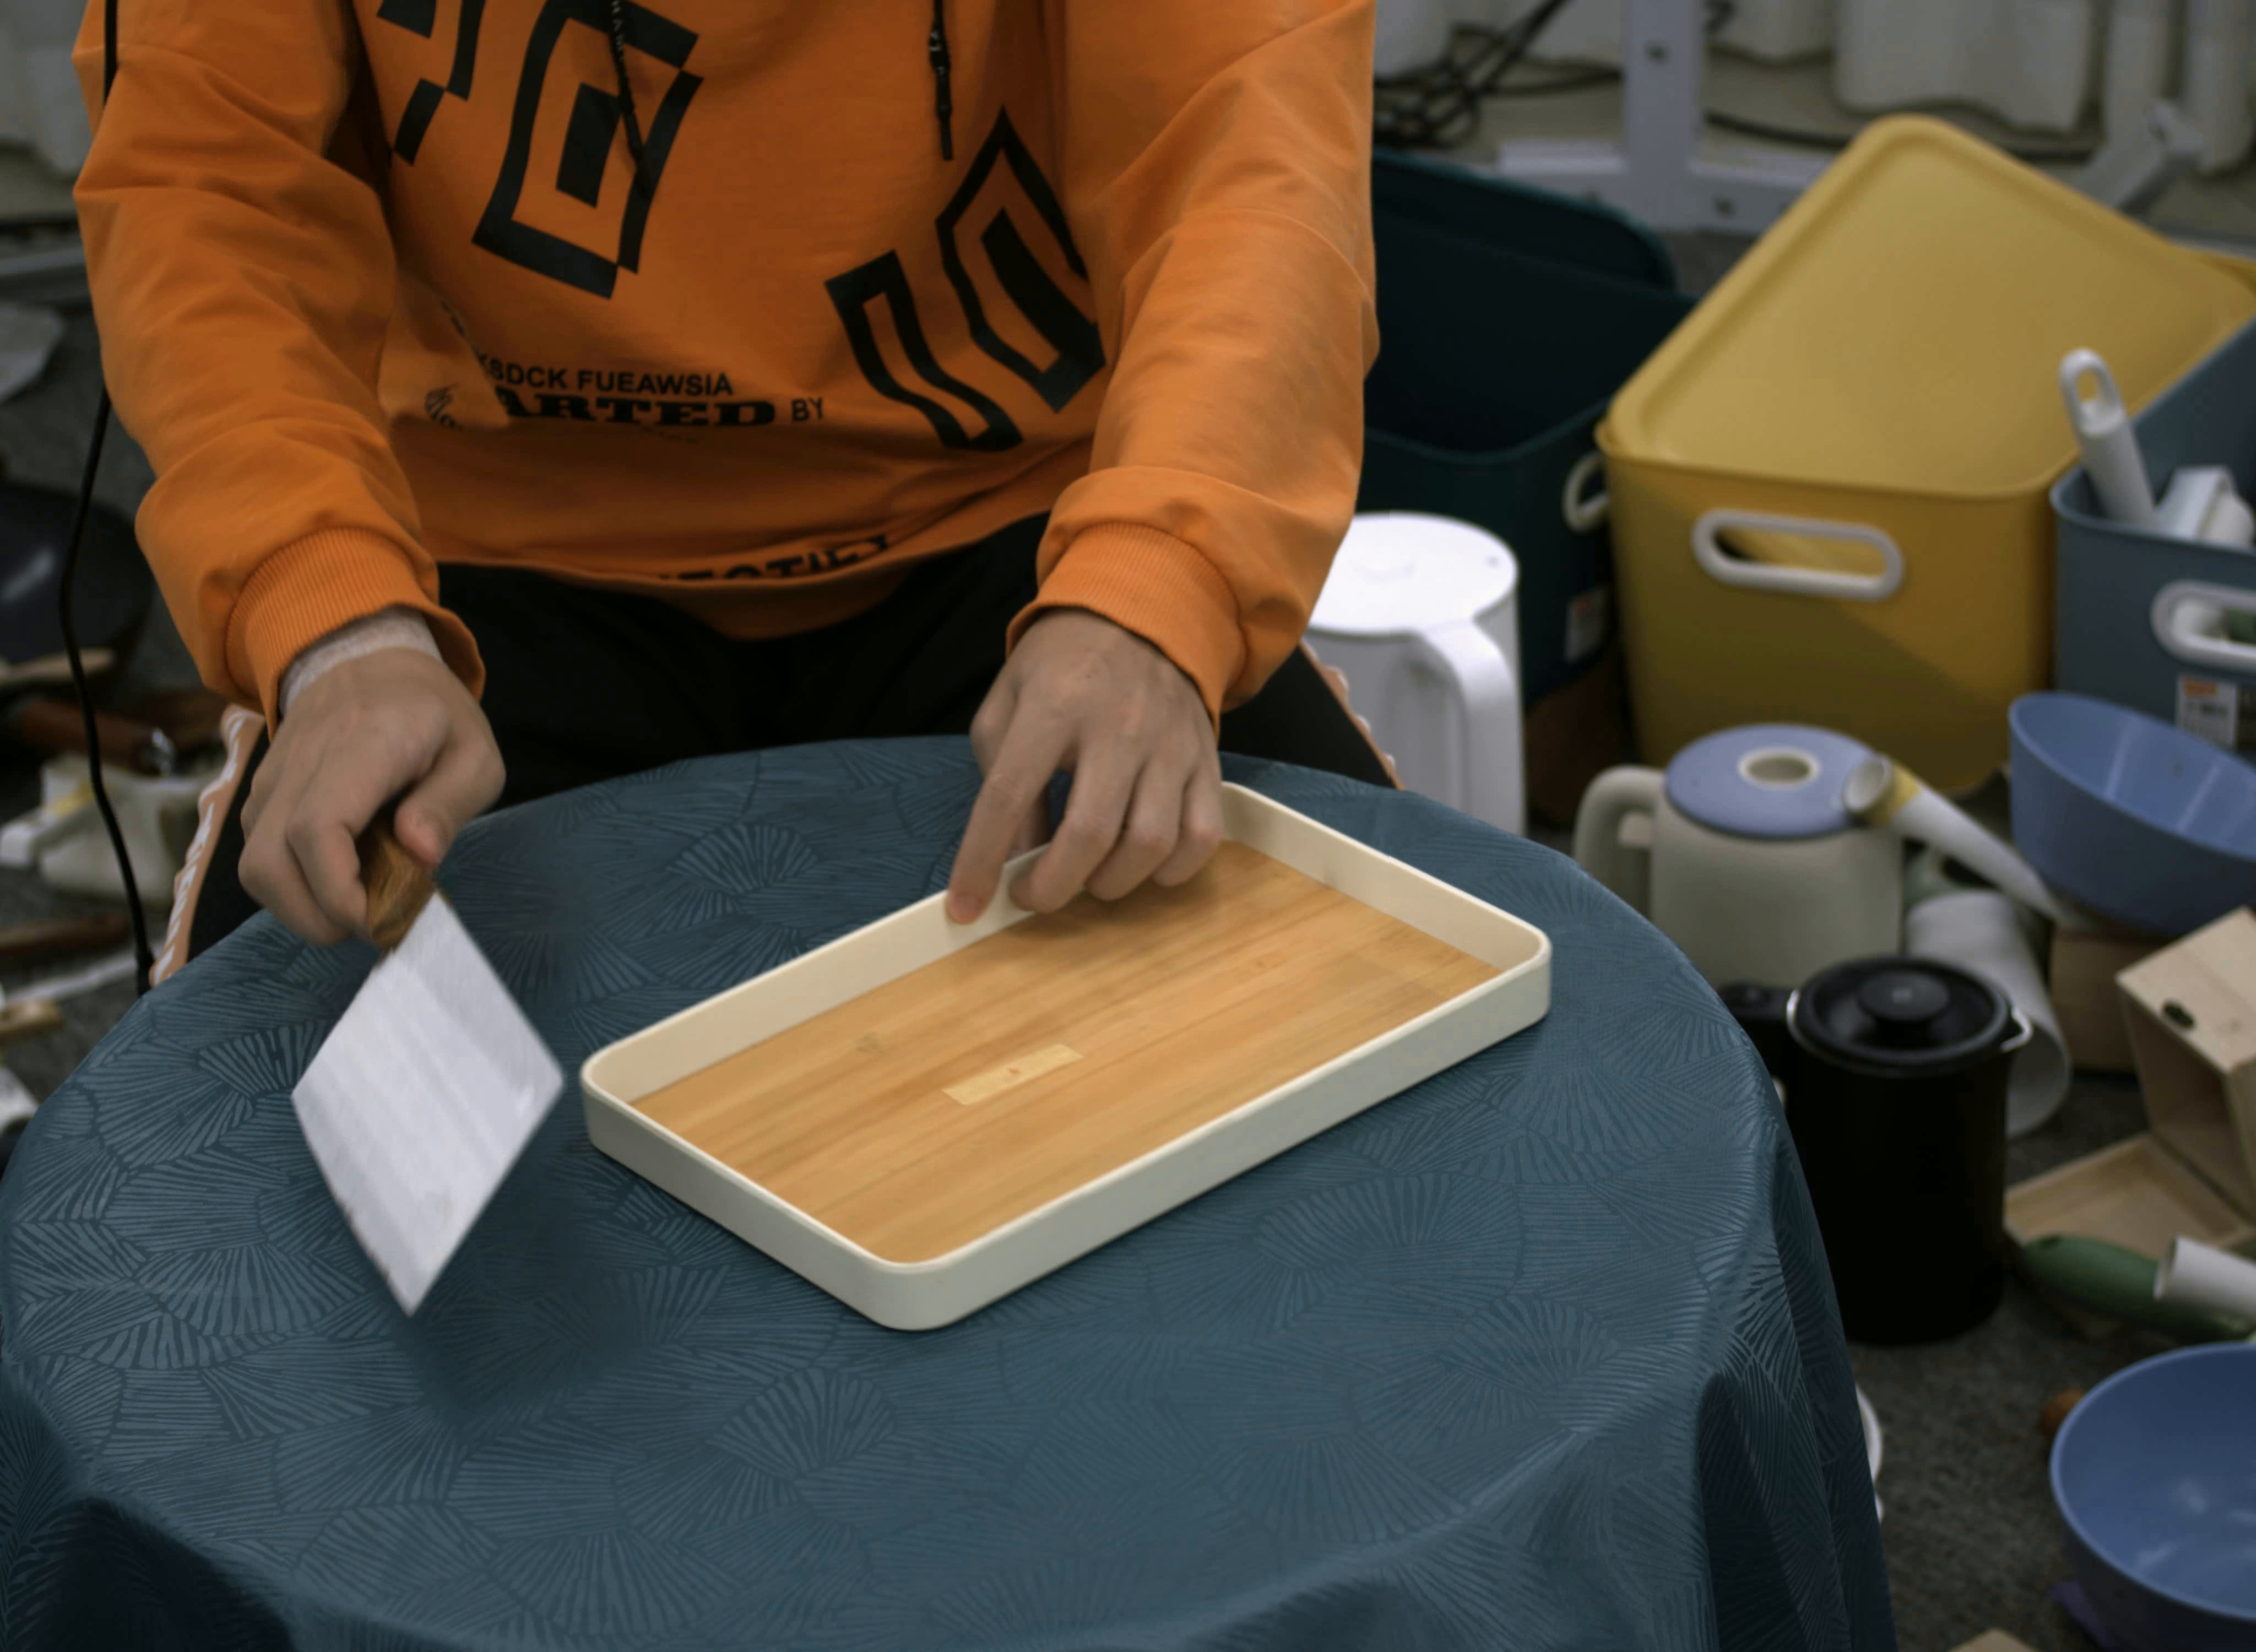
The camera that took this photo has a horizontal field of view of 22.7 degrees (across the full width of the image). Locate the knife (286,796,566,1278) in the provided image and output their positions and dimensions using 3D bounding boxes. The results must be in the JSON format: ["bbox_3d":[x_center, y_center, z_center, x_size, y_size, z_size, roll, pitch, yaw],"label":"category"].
[{"bbox_3d":[-0.247,0.070,1.870,0.021,0.093,0.307,33,5,-27],"label":"knife"}]

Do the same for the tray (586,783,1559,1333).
[{"bbox_3d":[-0.017,0.074,1.926,0.303,0.027,0.191,-25,35,-35],"label":"tray"}]
